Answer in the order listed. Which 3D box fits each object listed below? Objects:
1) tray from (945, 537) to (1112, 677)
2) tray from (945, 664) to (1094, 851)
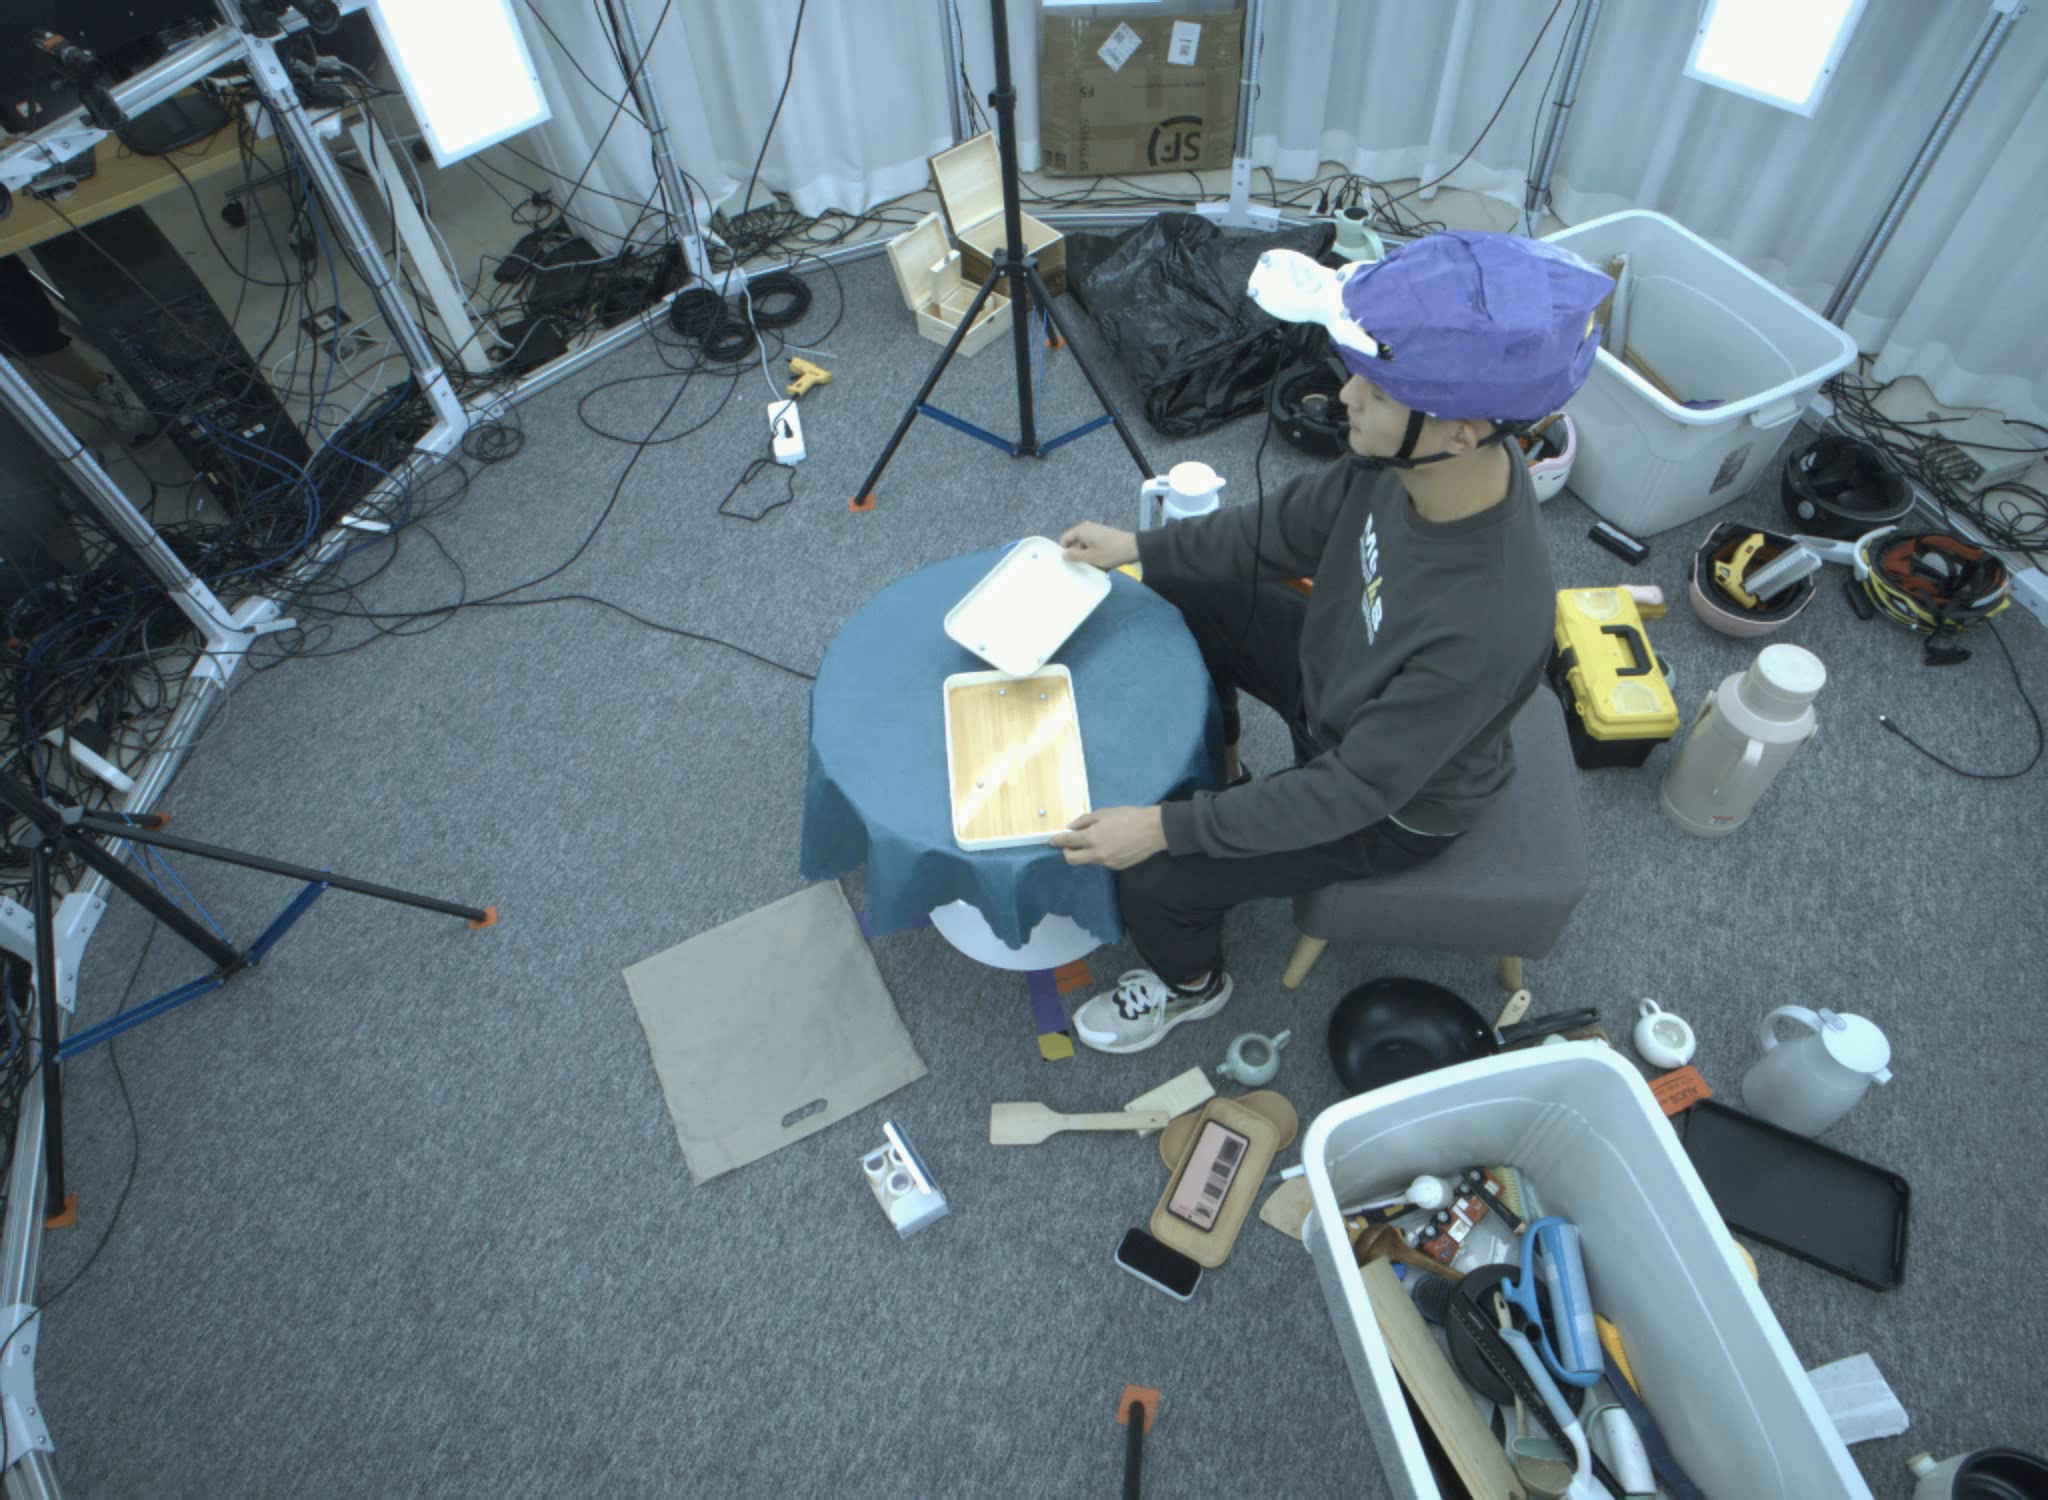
[{"bbox_3d":[0.007,-0.219,1.867,0.169,0.017,0.241,33,64,18],"label":"tray"},{"bbox_3d":[-0.010,0.005,1.766,0.192,0.028,0.296,-5,55,-3],"label":"tray"}]
